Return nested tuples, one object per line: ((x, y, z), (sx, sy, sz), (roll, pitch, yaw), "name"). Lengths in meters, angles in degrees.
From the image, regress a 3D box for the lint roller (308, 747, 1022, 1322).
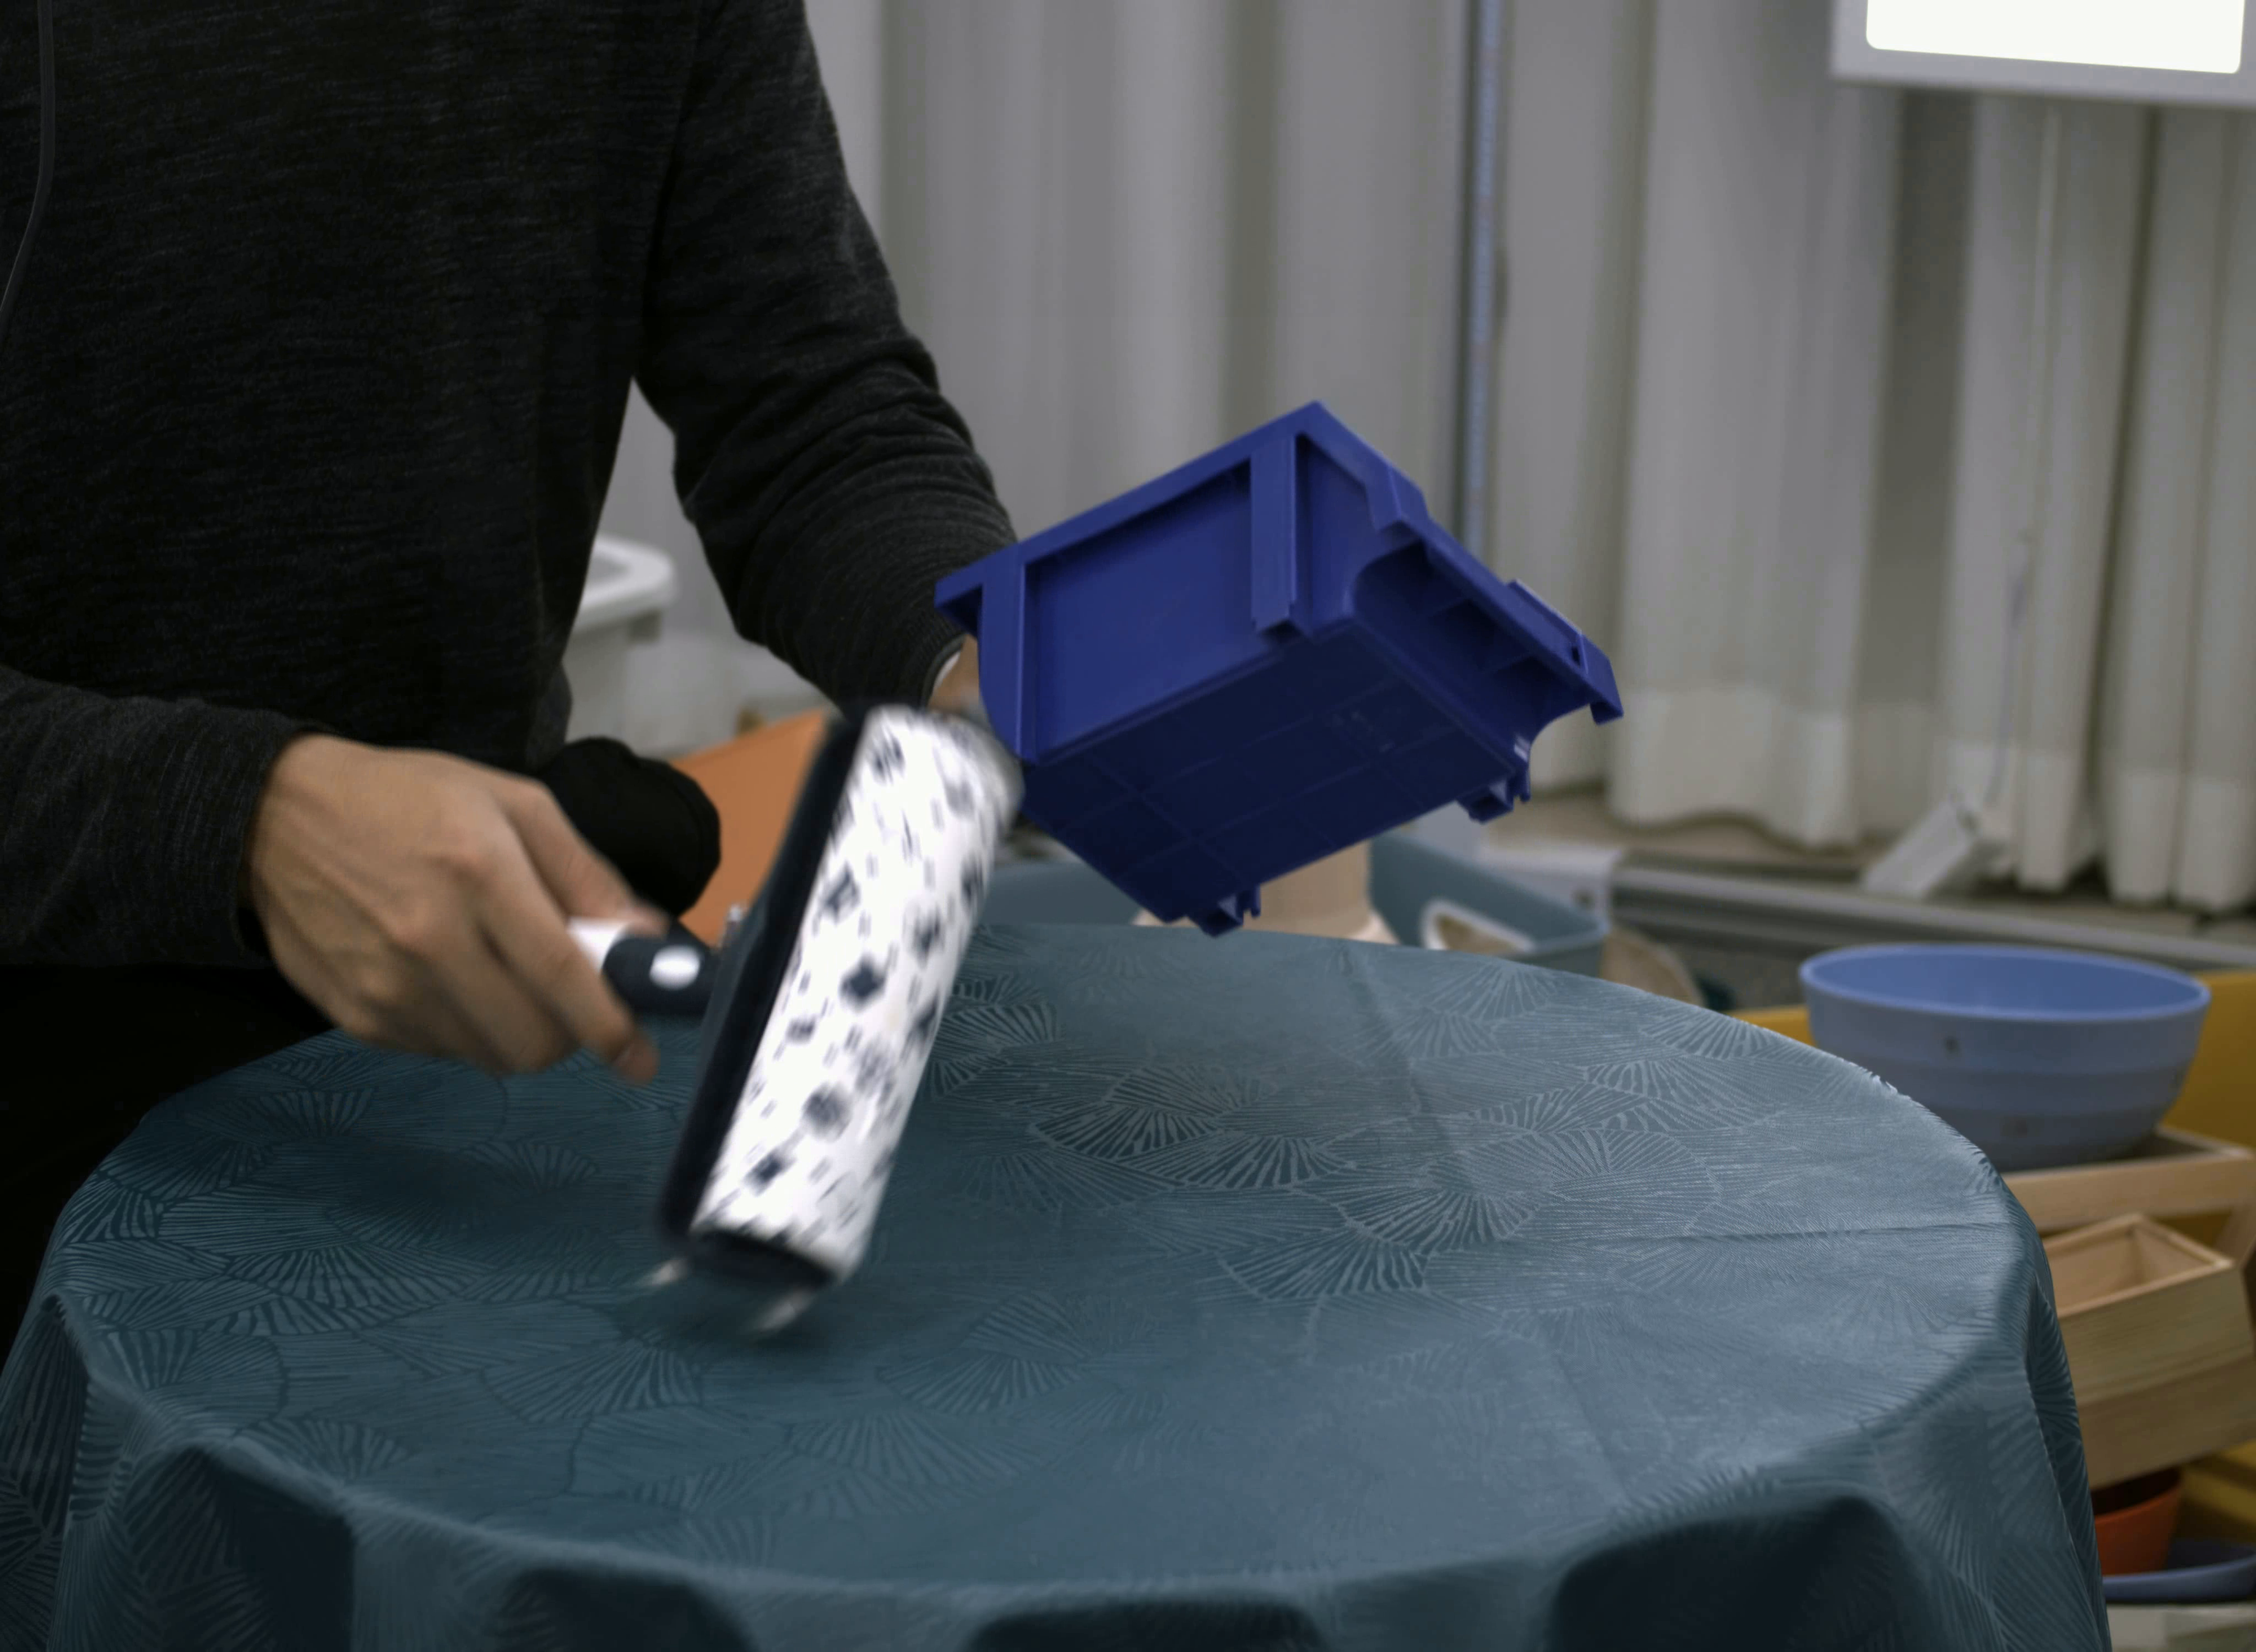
((-0.160, 0.051, 1.568), (0.244, 0.176, 0.051), (7, -26, 36), "lint roller")

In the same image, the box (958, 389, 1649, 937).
((0.054, -0.049, 1.632), (0.178, 0.126, 0.081), (-27, 46, 29), "box")
